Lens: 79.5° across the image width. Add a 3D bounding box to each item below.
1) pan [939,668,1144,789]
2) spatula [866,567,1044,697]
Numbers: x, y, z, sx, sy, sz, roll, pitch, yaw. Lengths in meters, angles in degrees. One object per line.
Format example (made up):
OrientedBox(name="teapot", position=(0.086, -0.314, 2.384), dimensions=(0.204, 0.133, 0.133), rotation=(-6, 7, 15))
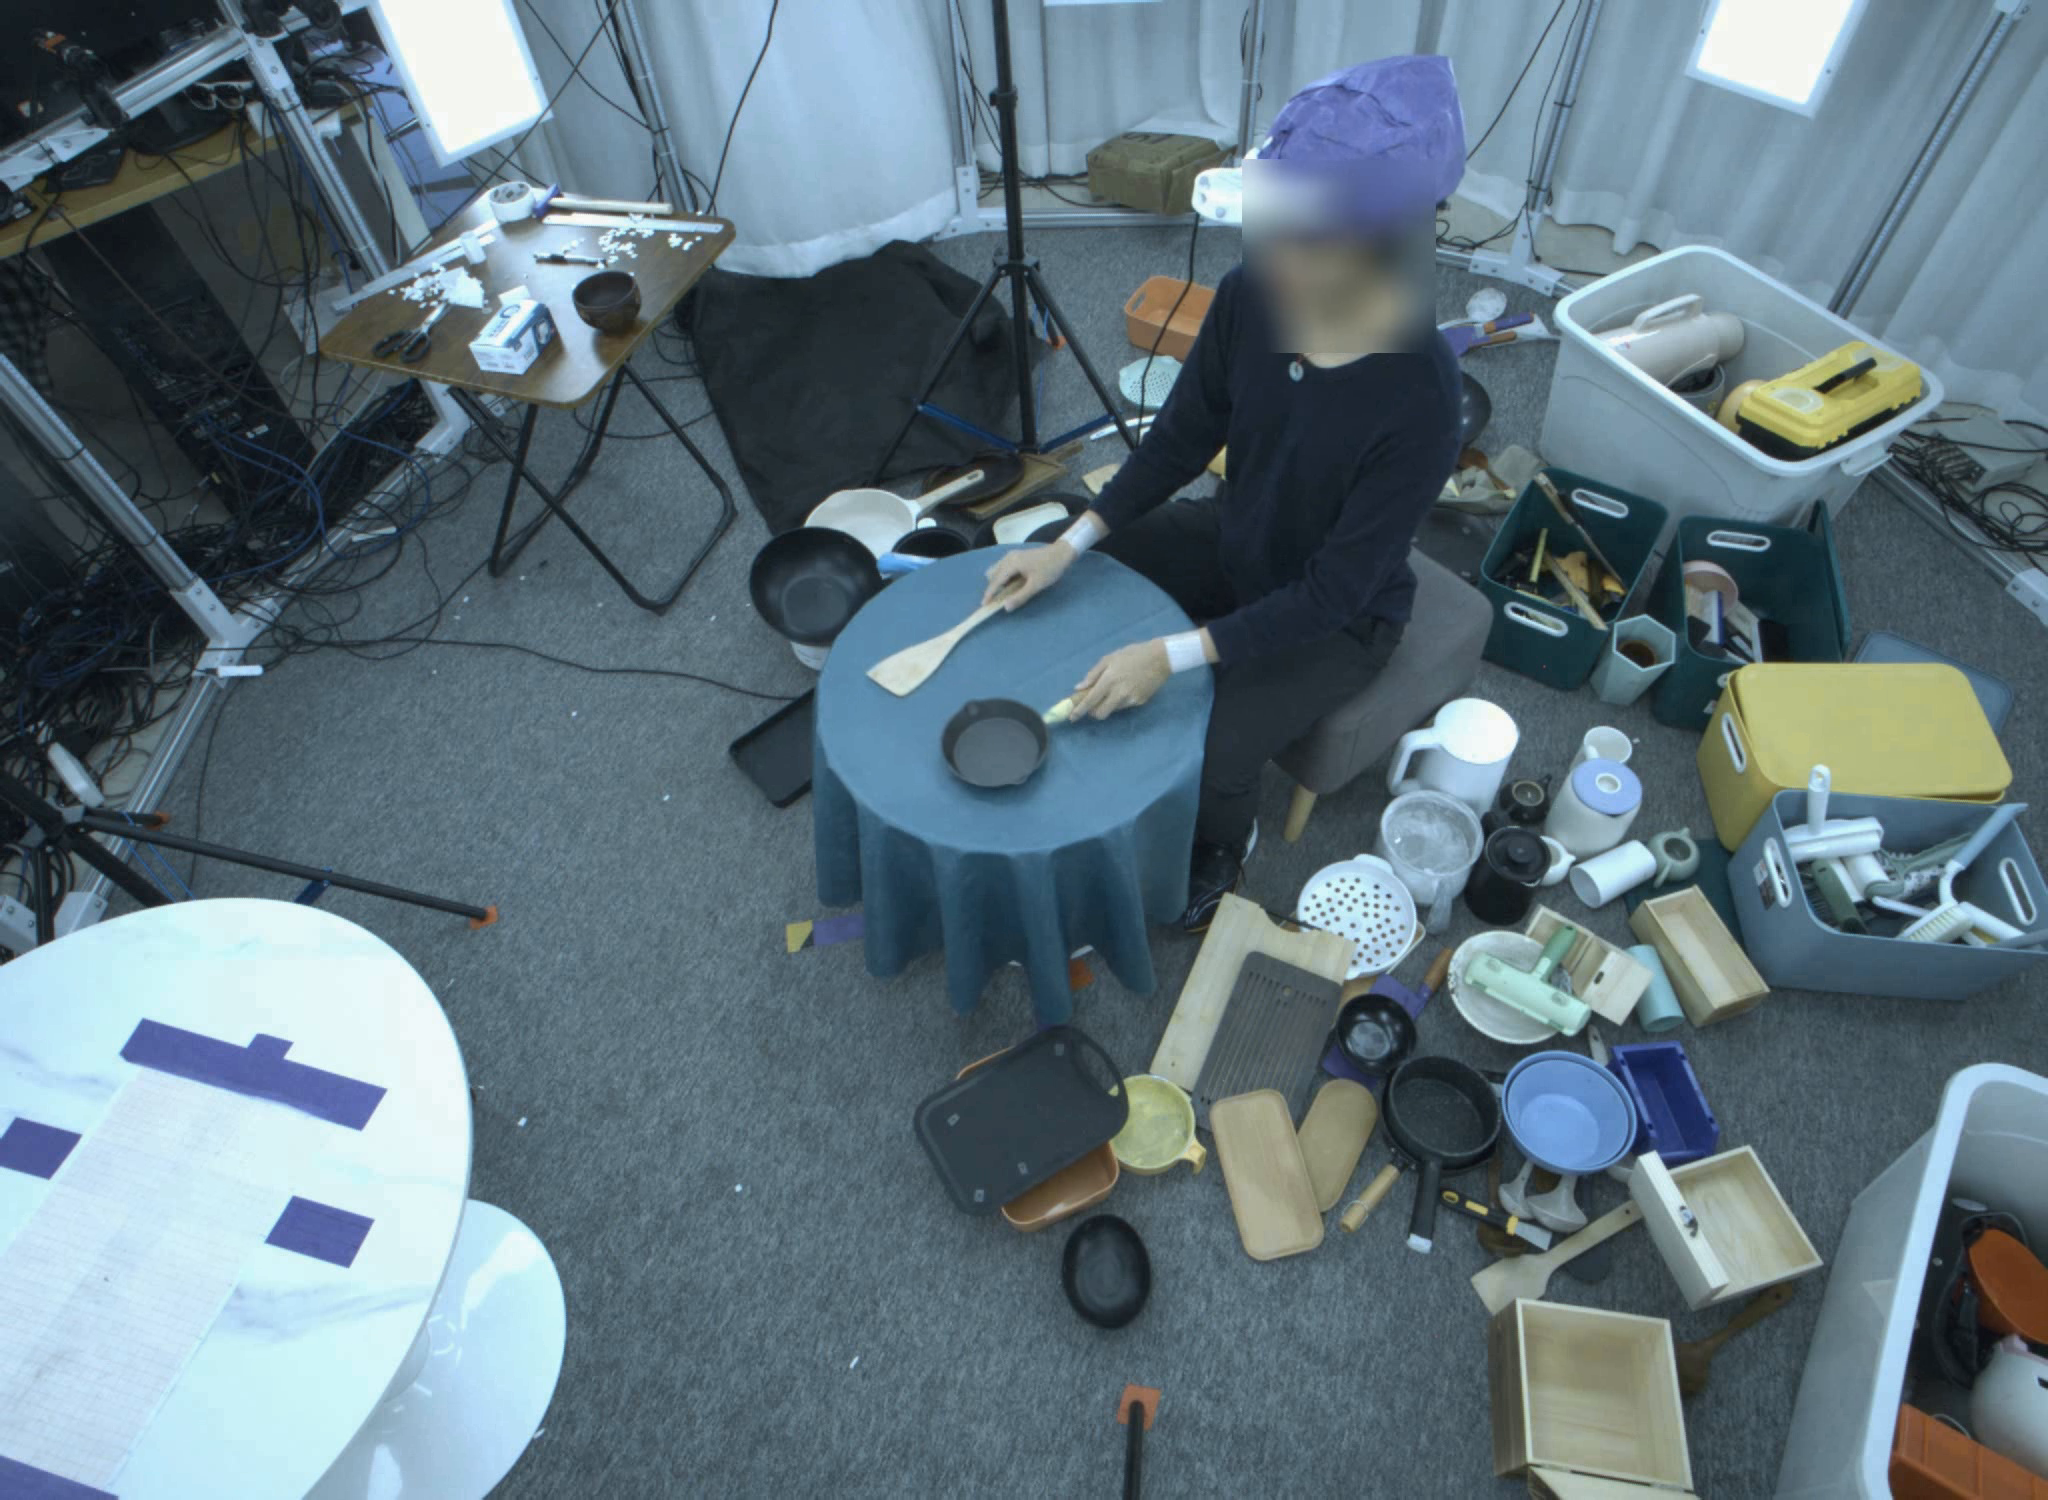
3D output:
OrientedBox(name="pan", position=(0.033, -0.043, 1.785), dimensions=(0.326, 0.050, 0.166), rotation=(-24, 57, -12))
OrientedBox(name="spatula", position=(-0.096, -0.190, 1.905), dimensions=(0.329, 0.017, 0.078), rotation=(-38, 63, -15))
